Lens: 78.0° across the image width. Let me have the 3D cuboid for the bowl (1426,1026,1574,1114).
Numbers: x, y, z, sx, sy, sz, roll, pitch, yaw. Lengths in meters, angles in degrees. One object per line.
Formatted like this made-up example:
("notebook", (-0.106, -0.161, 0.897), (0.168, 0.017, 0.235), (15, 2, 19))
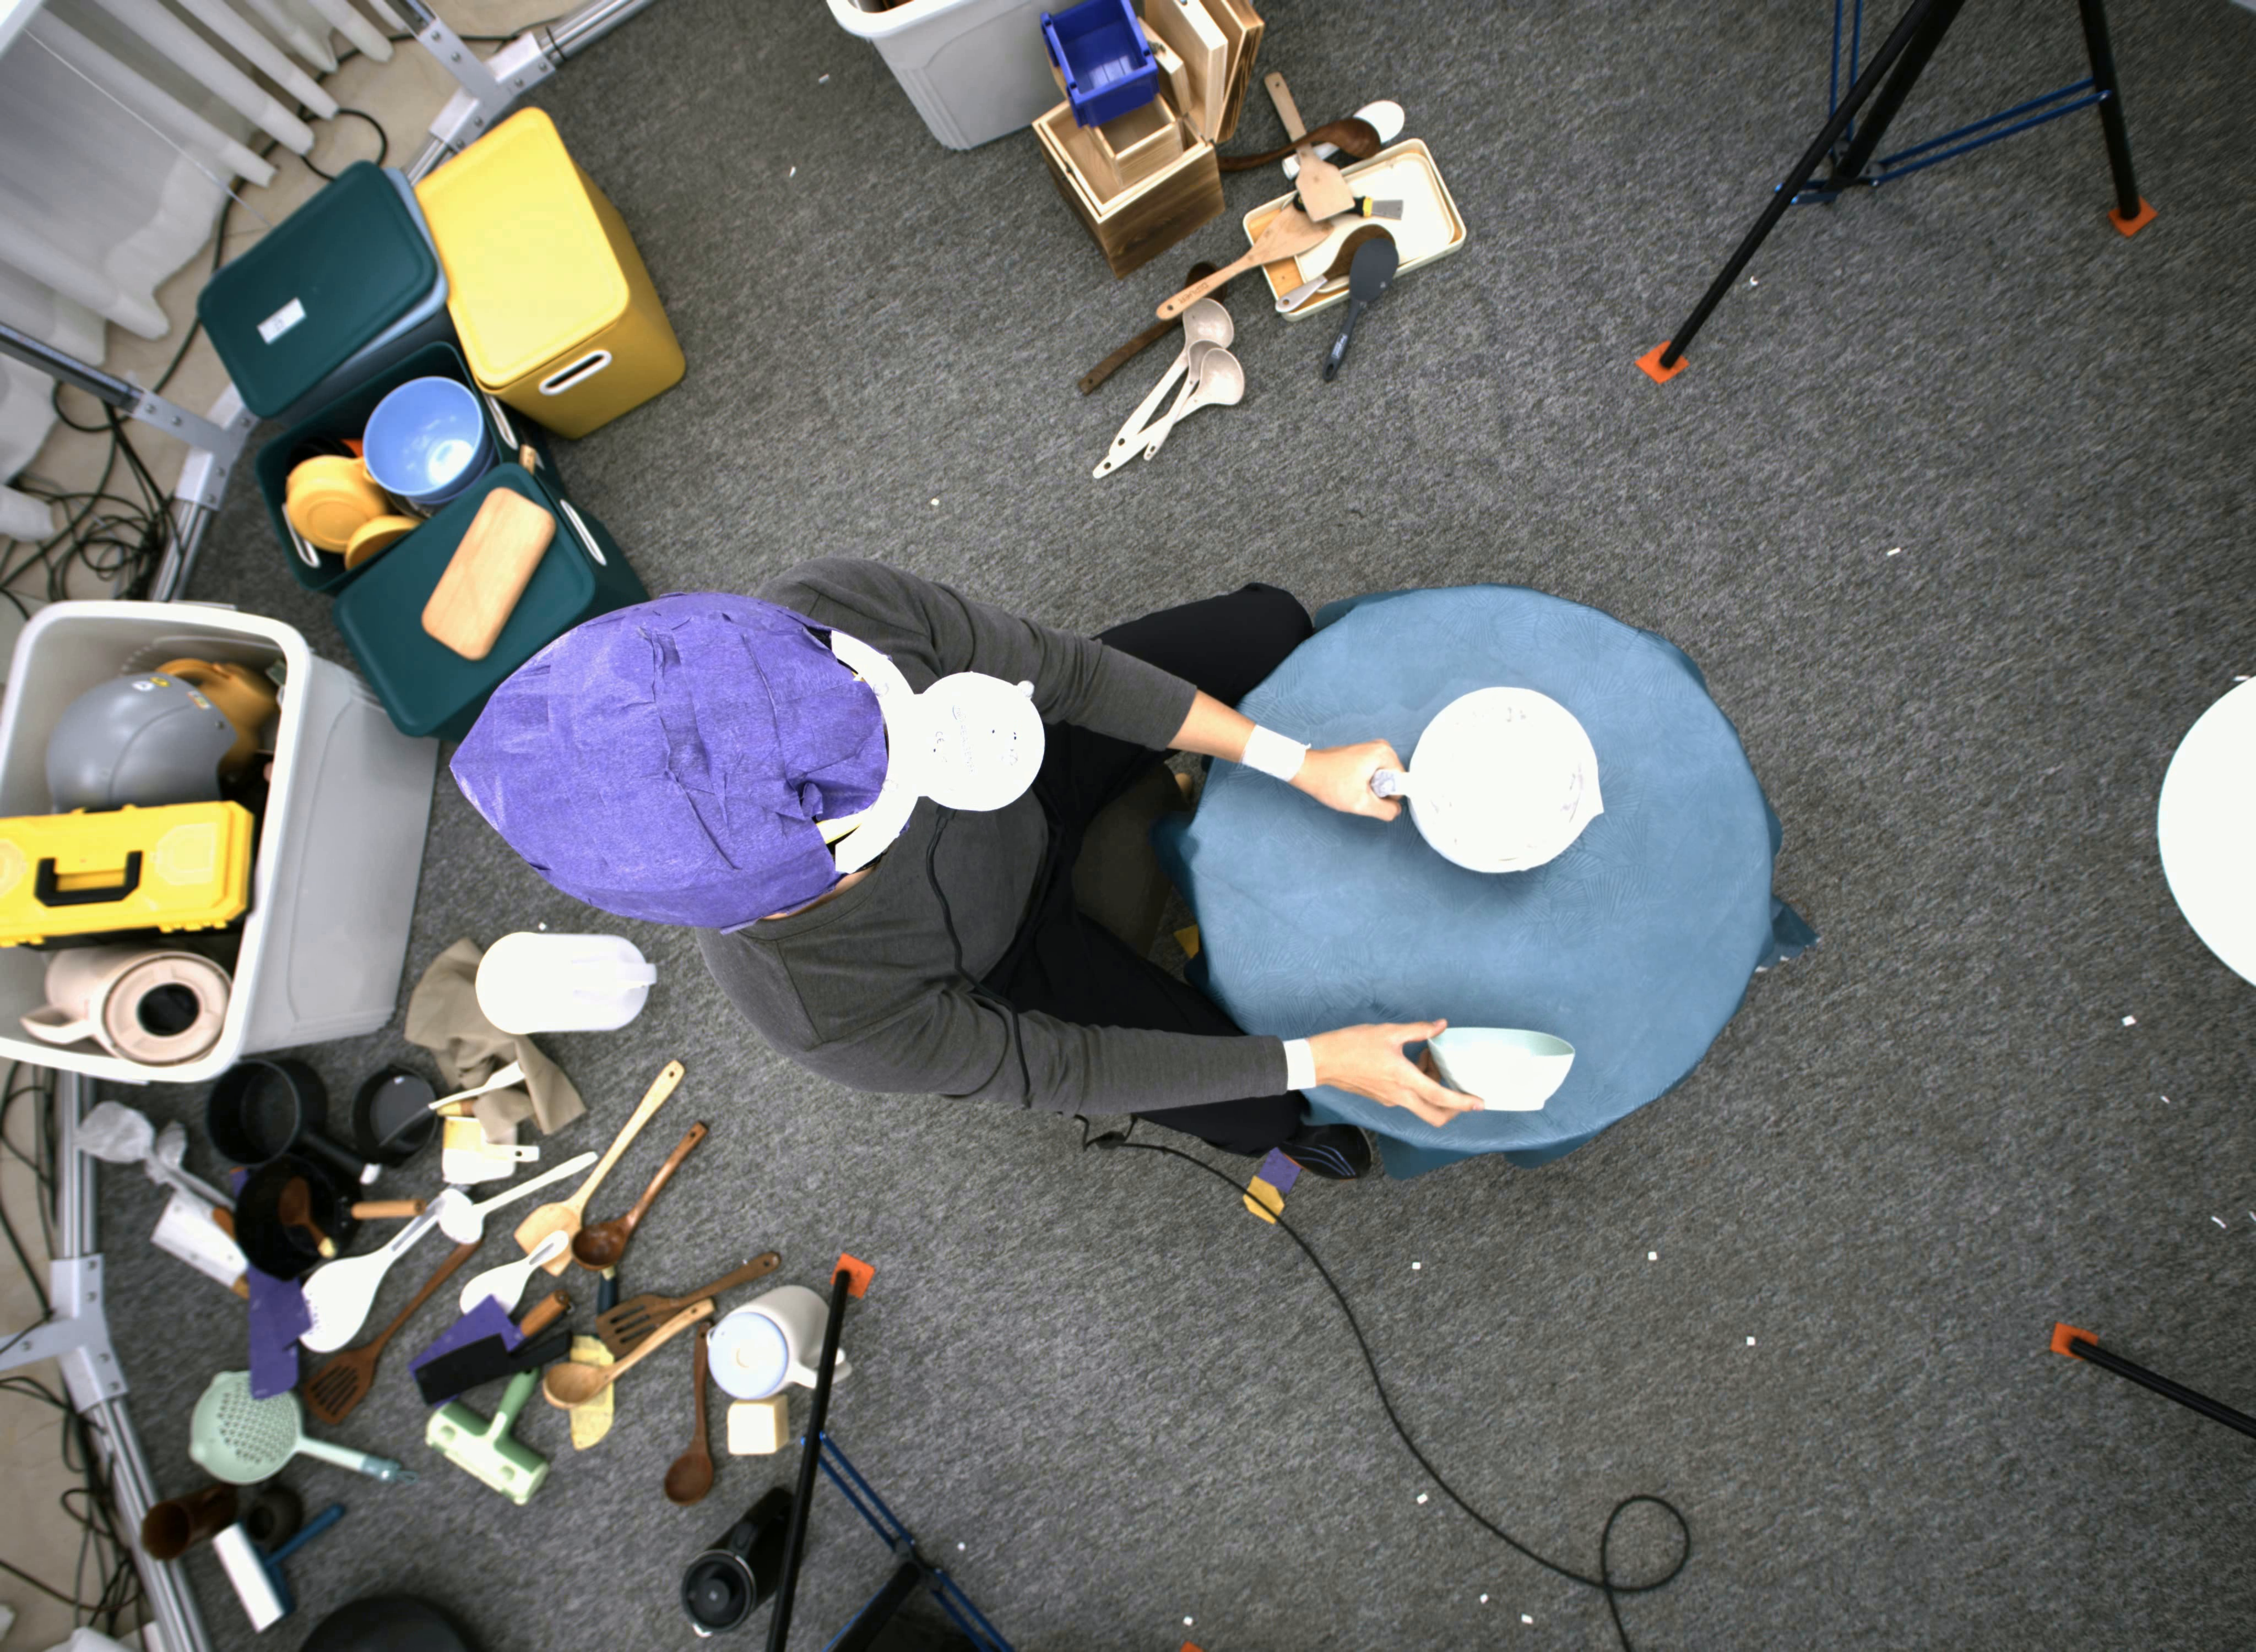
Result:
("bowl", (0.363, 0.240, 1.356), (0.152, 0.150, 0.059), (4, 96, 10))

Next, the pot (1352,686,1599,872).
("pot", (0.343, -0.044, 1.381), (0.234, 0.136, 0.178), (-1, 89, 10))
